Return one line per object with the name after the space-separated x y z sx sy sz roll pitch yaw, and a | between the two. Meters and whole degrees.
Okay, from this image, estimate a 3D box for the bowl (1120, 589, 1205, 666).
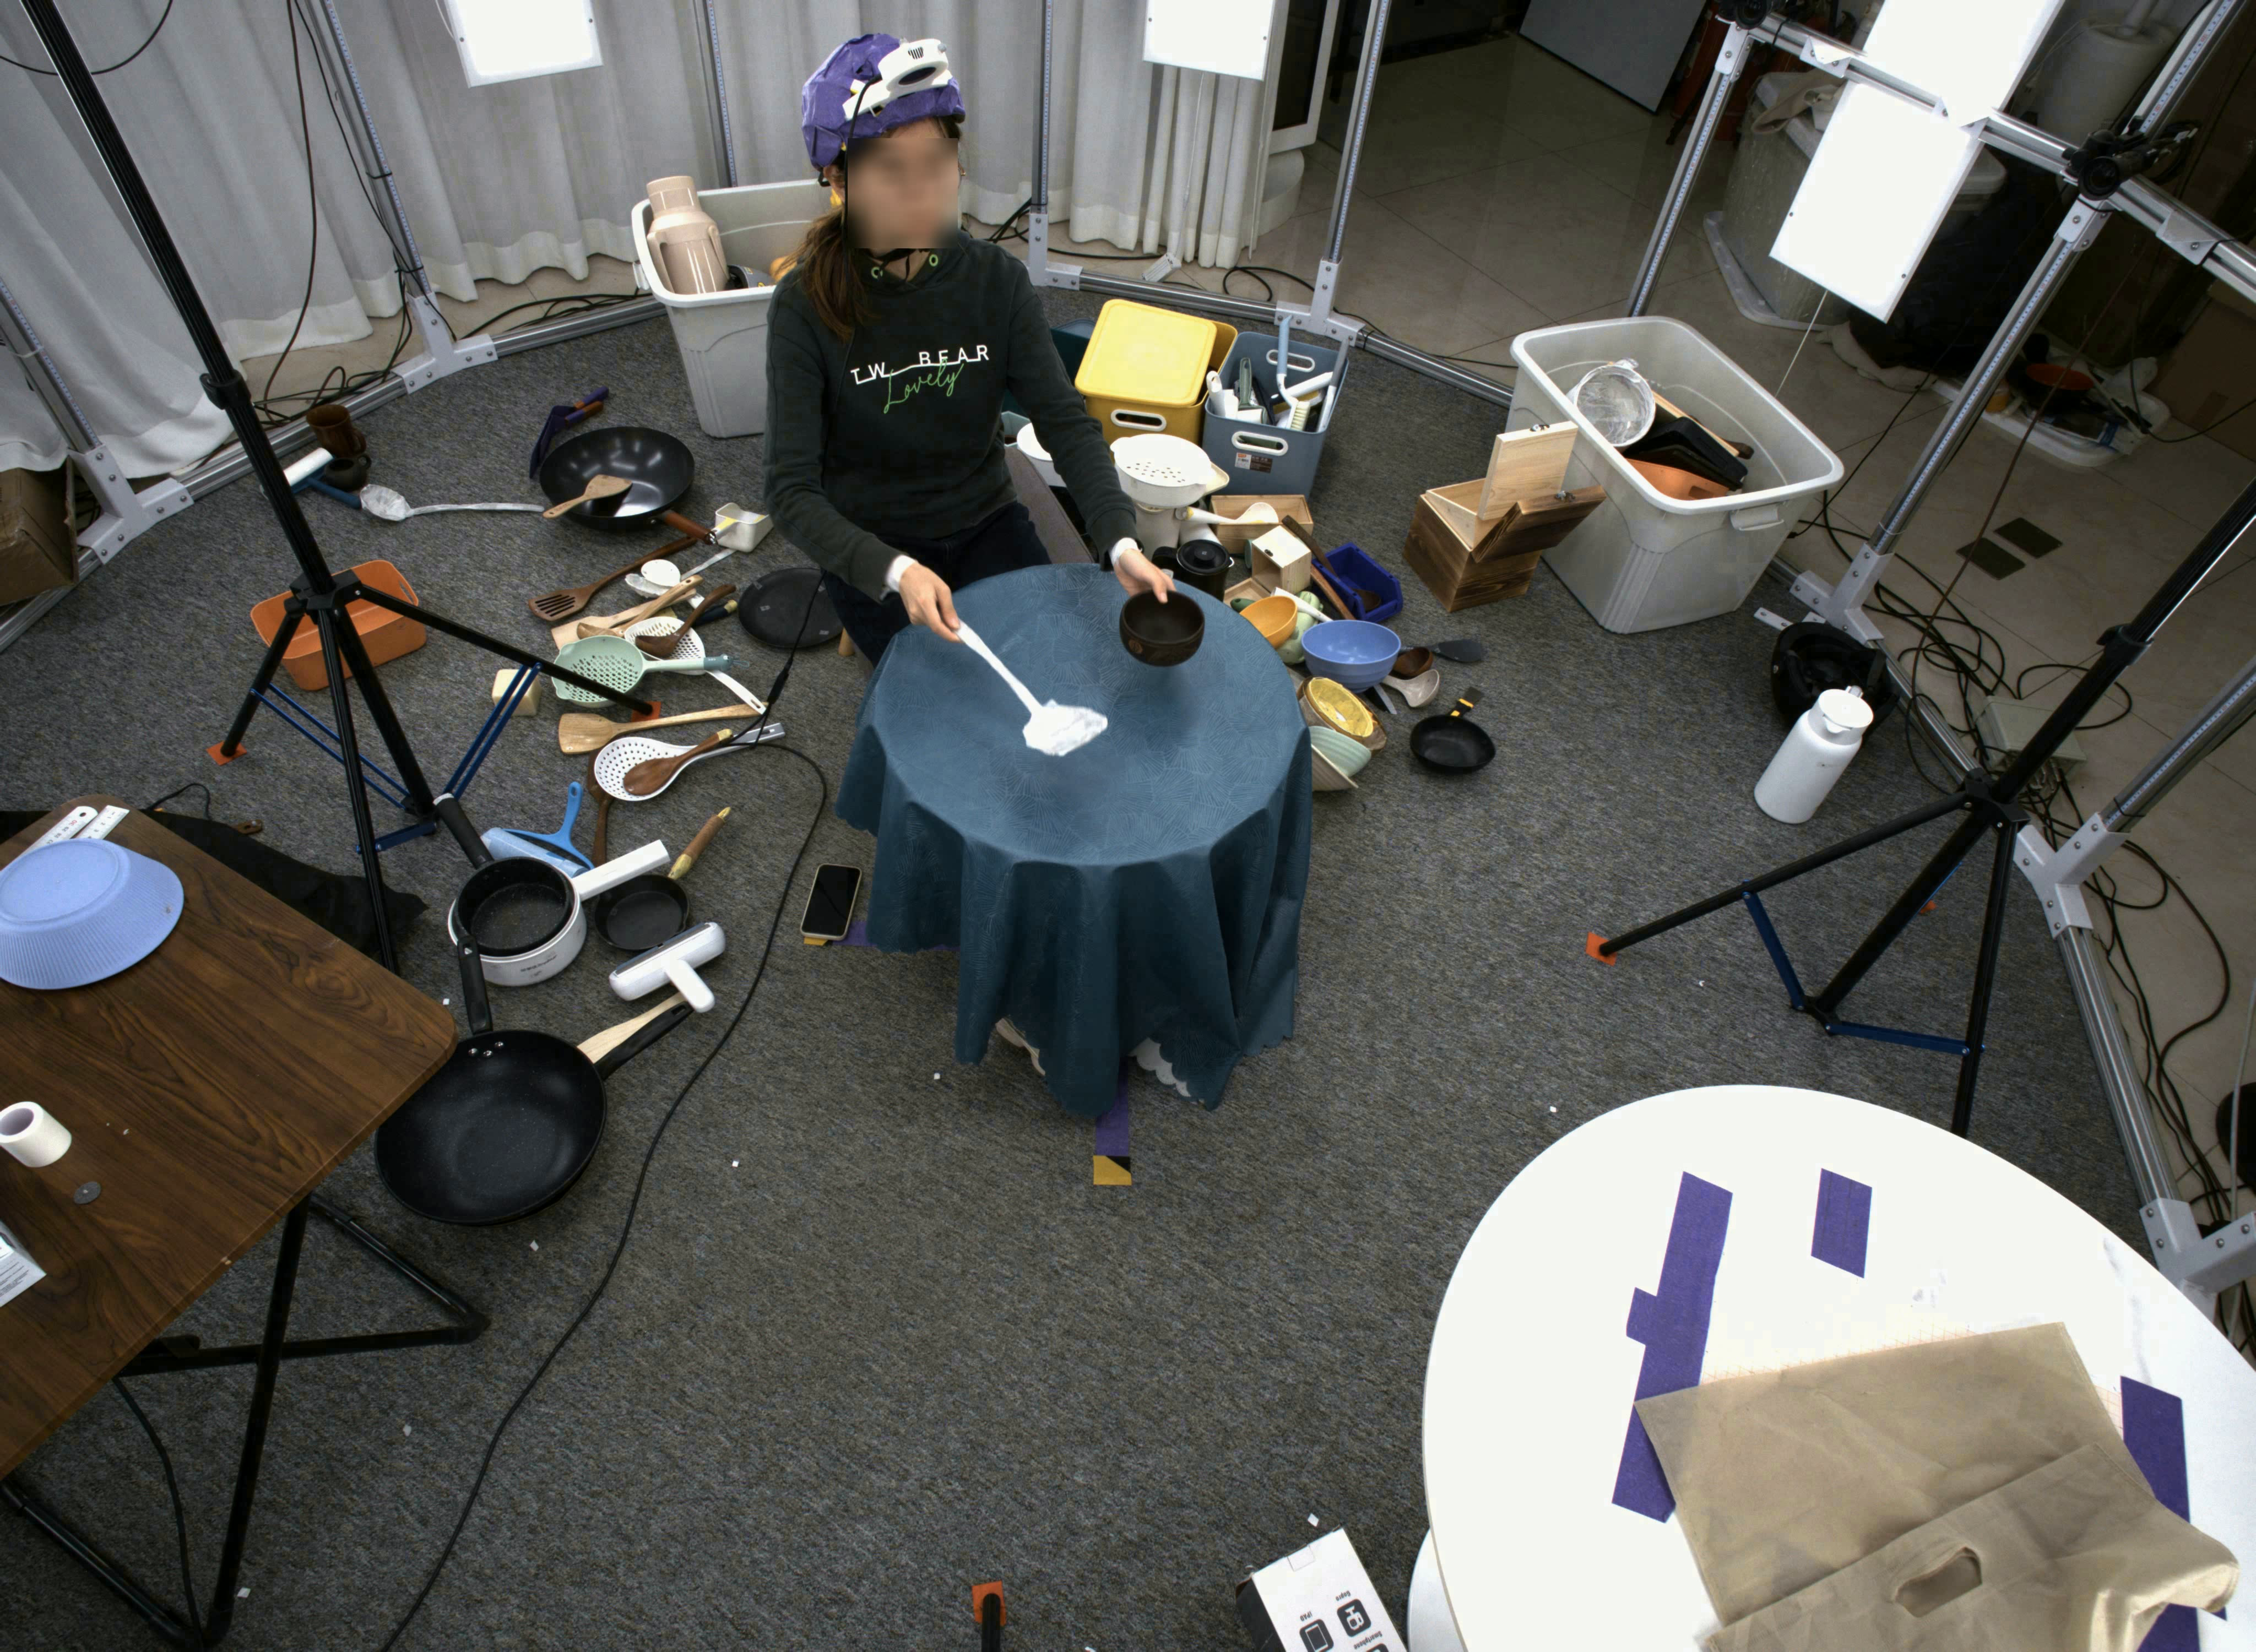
0.047 -0.270 1.799 0.118 0.068 0.121 2 47 -3 | bowl

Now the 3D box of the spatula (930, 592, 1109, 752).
-0.166 -0.217 1.713 0.099 0.044 0.371 -32 61 -22 | spatula
